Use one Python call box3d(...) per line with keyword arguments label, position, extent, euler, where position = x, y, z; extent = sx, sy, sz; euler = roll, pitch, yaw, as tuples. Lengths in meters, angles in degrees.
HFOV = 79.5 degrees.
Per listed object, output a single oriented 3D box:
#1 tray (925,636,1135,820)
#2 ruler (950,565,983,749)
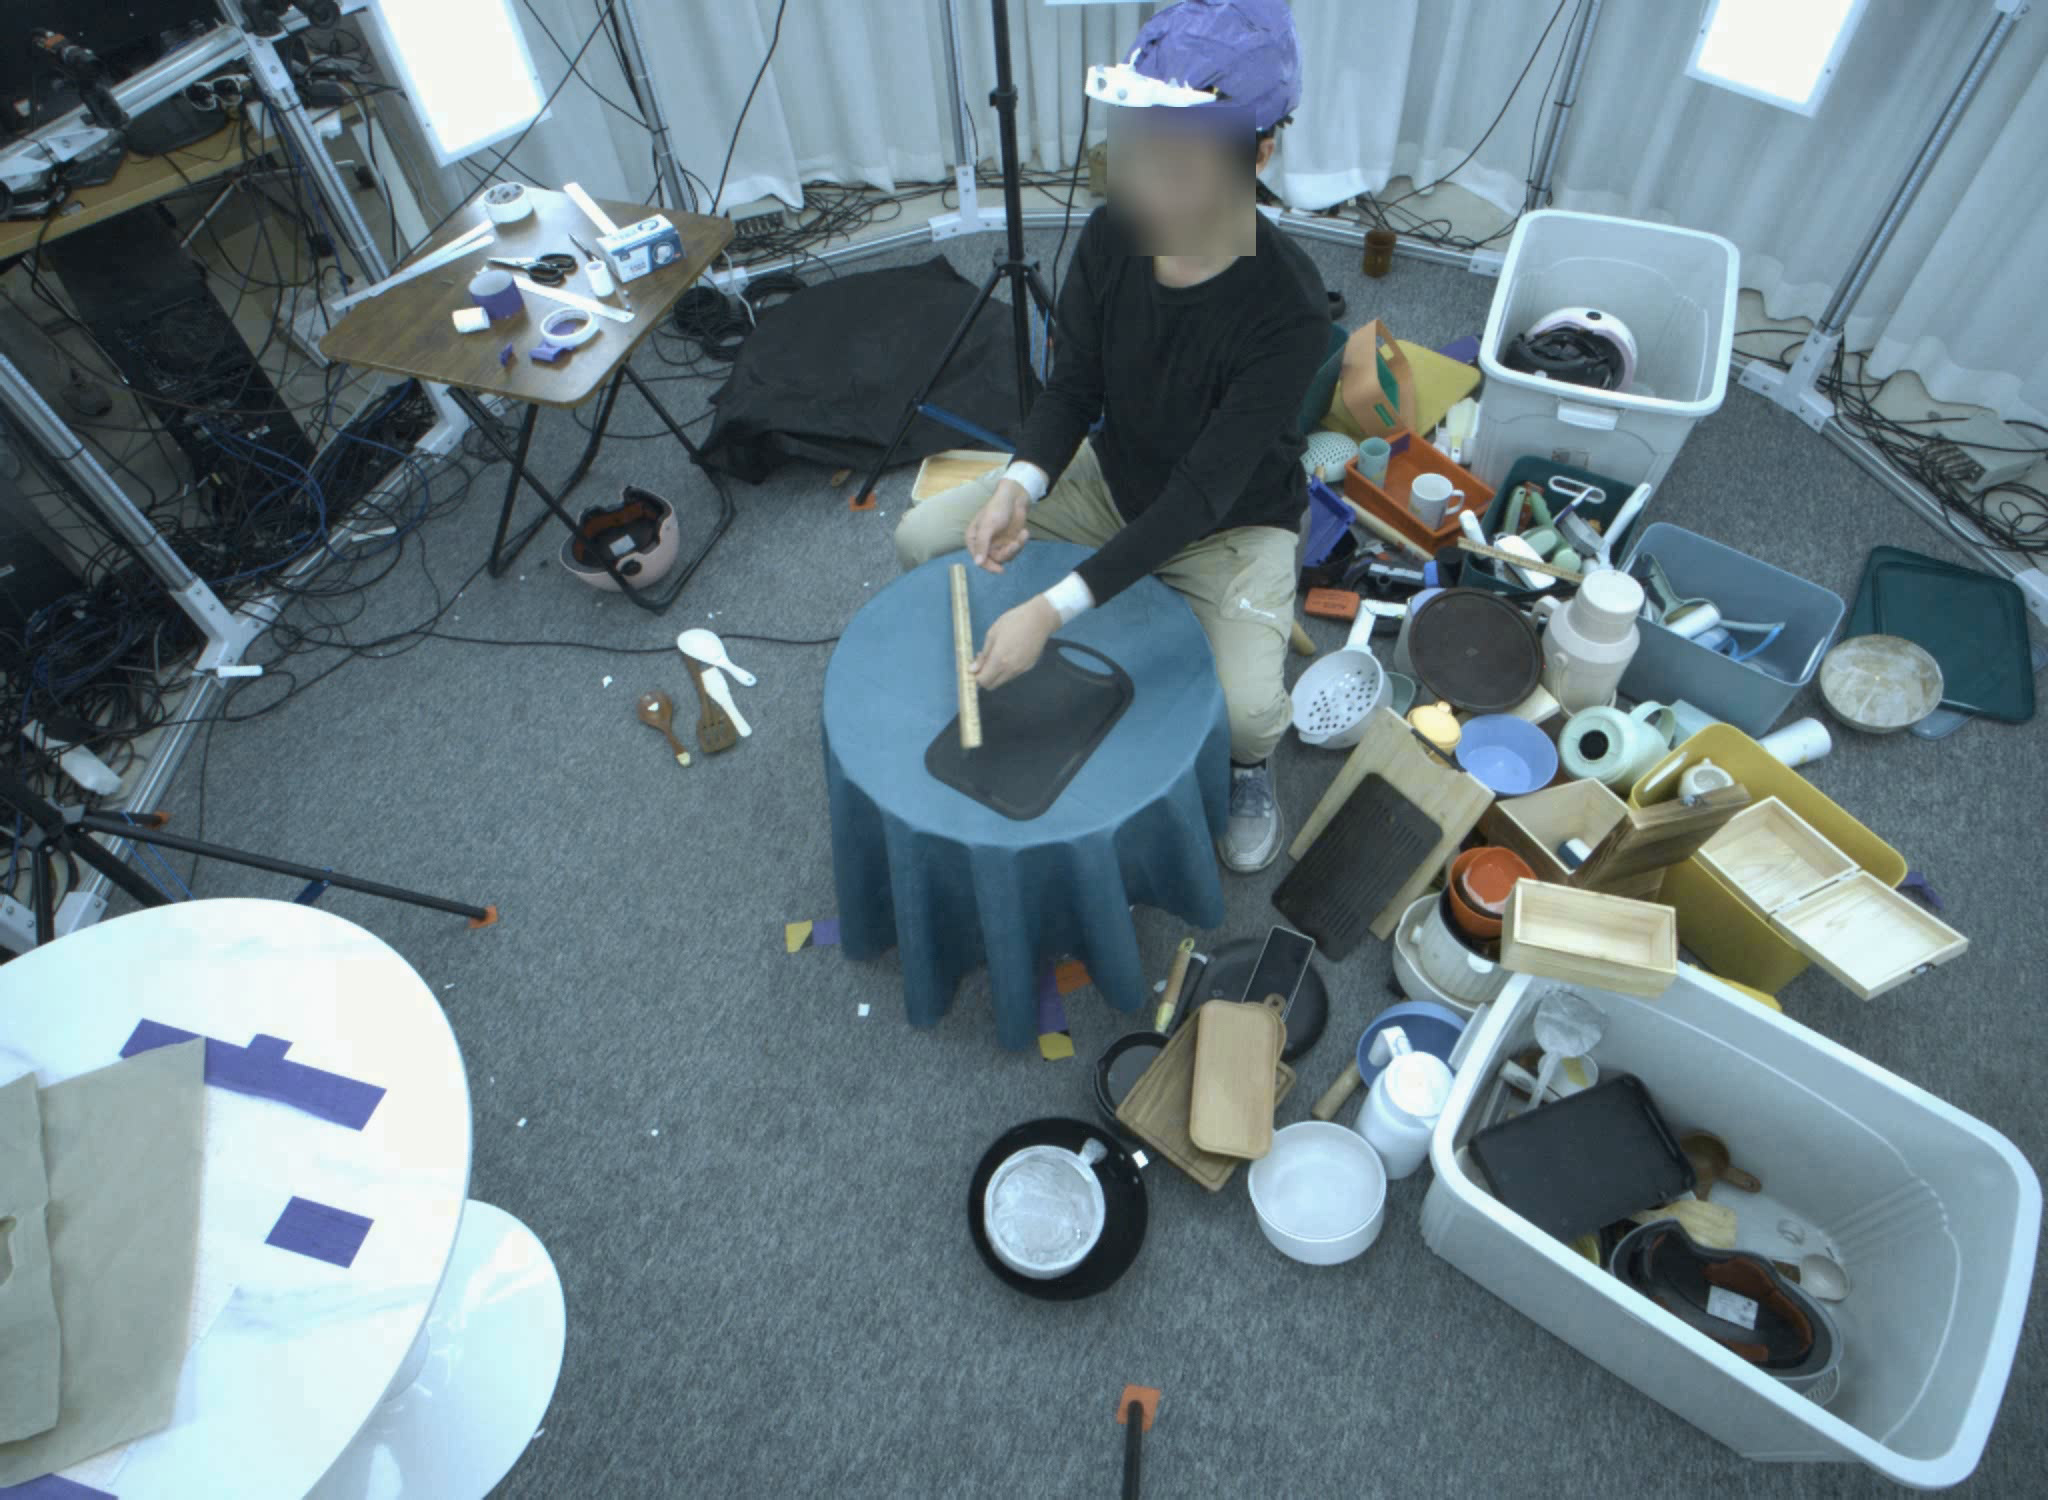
box3d(label="tray", position=(0.015, -0.046, 1.816), extent=(0.208, 0.010, 0.327), euler=(29, 61, 20))
box3d(label="ruler", position=(-0.087, -0.152, 1.804), extent=(0.027, 0.006, 0.493), euler=(-5, 37, -3))
